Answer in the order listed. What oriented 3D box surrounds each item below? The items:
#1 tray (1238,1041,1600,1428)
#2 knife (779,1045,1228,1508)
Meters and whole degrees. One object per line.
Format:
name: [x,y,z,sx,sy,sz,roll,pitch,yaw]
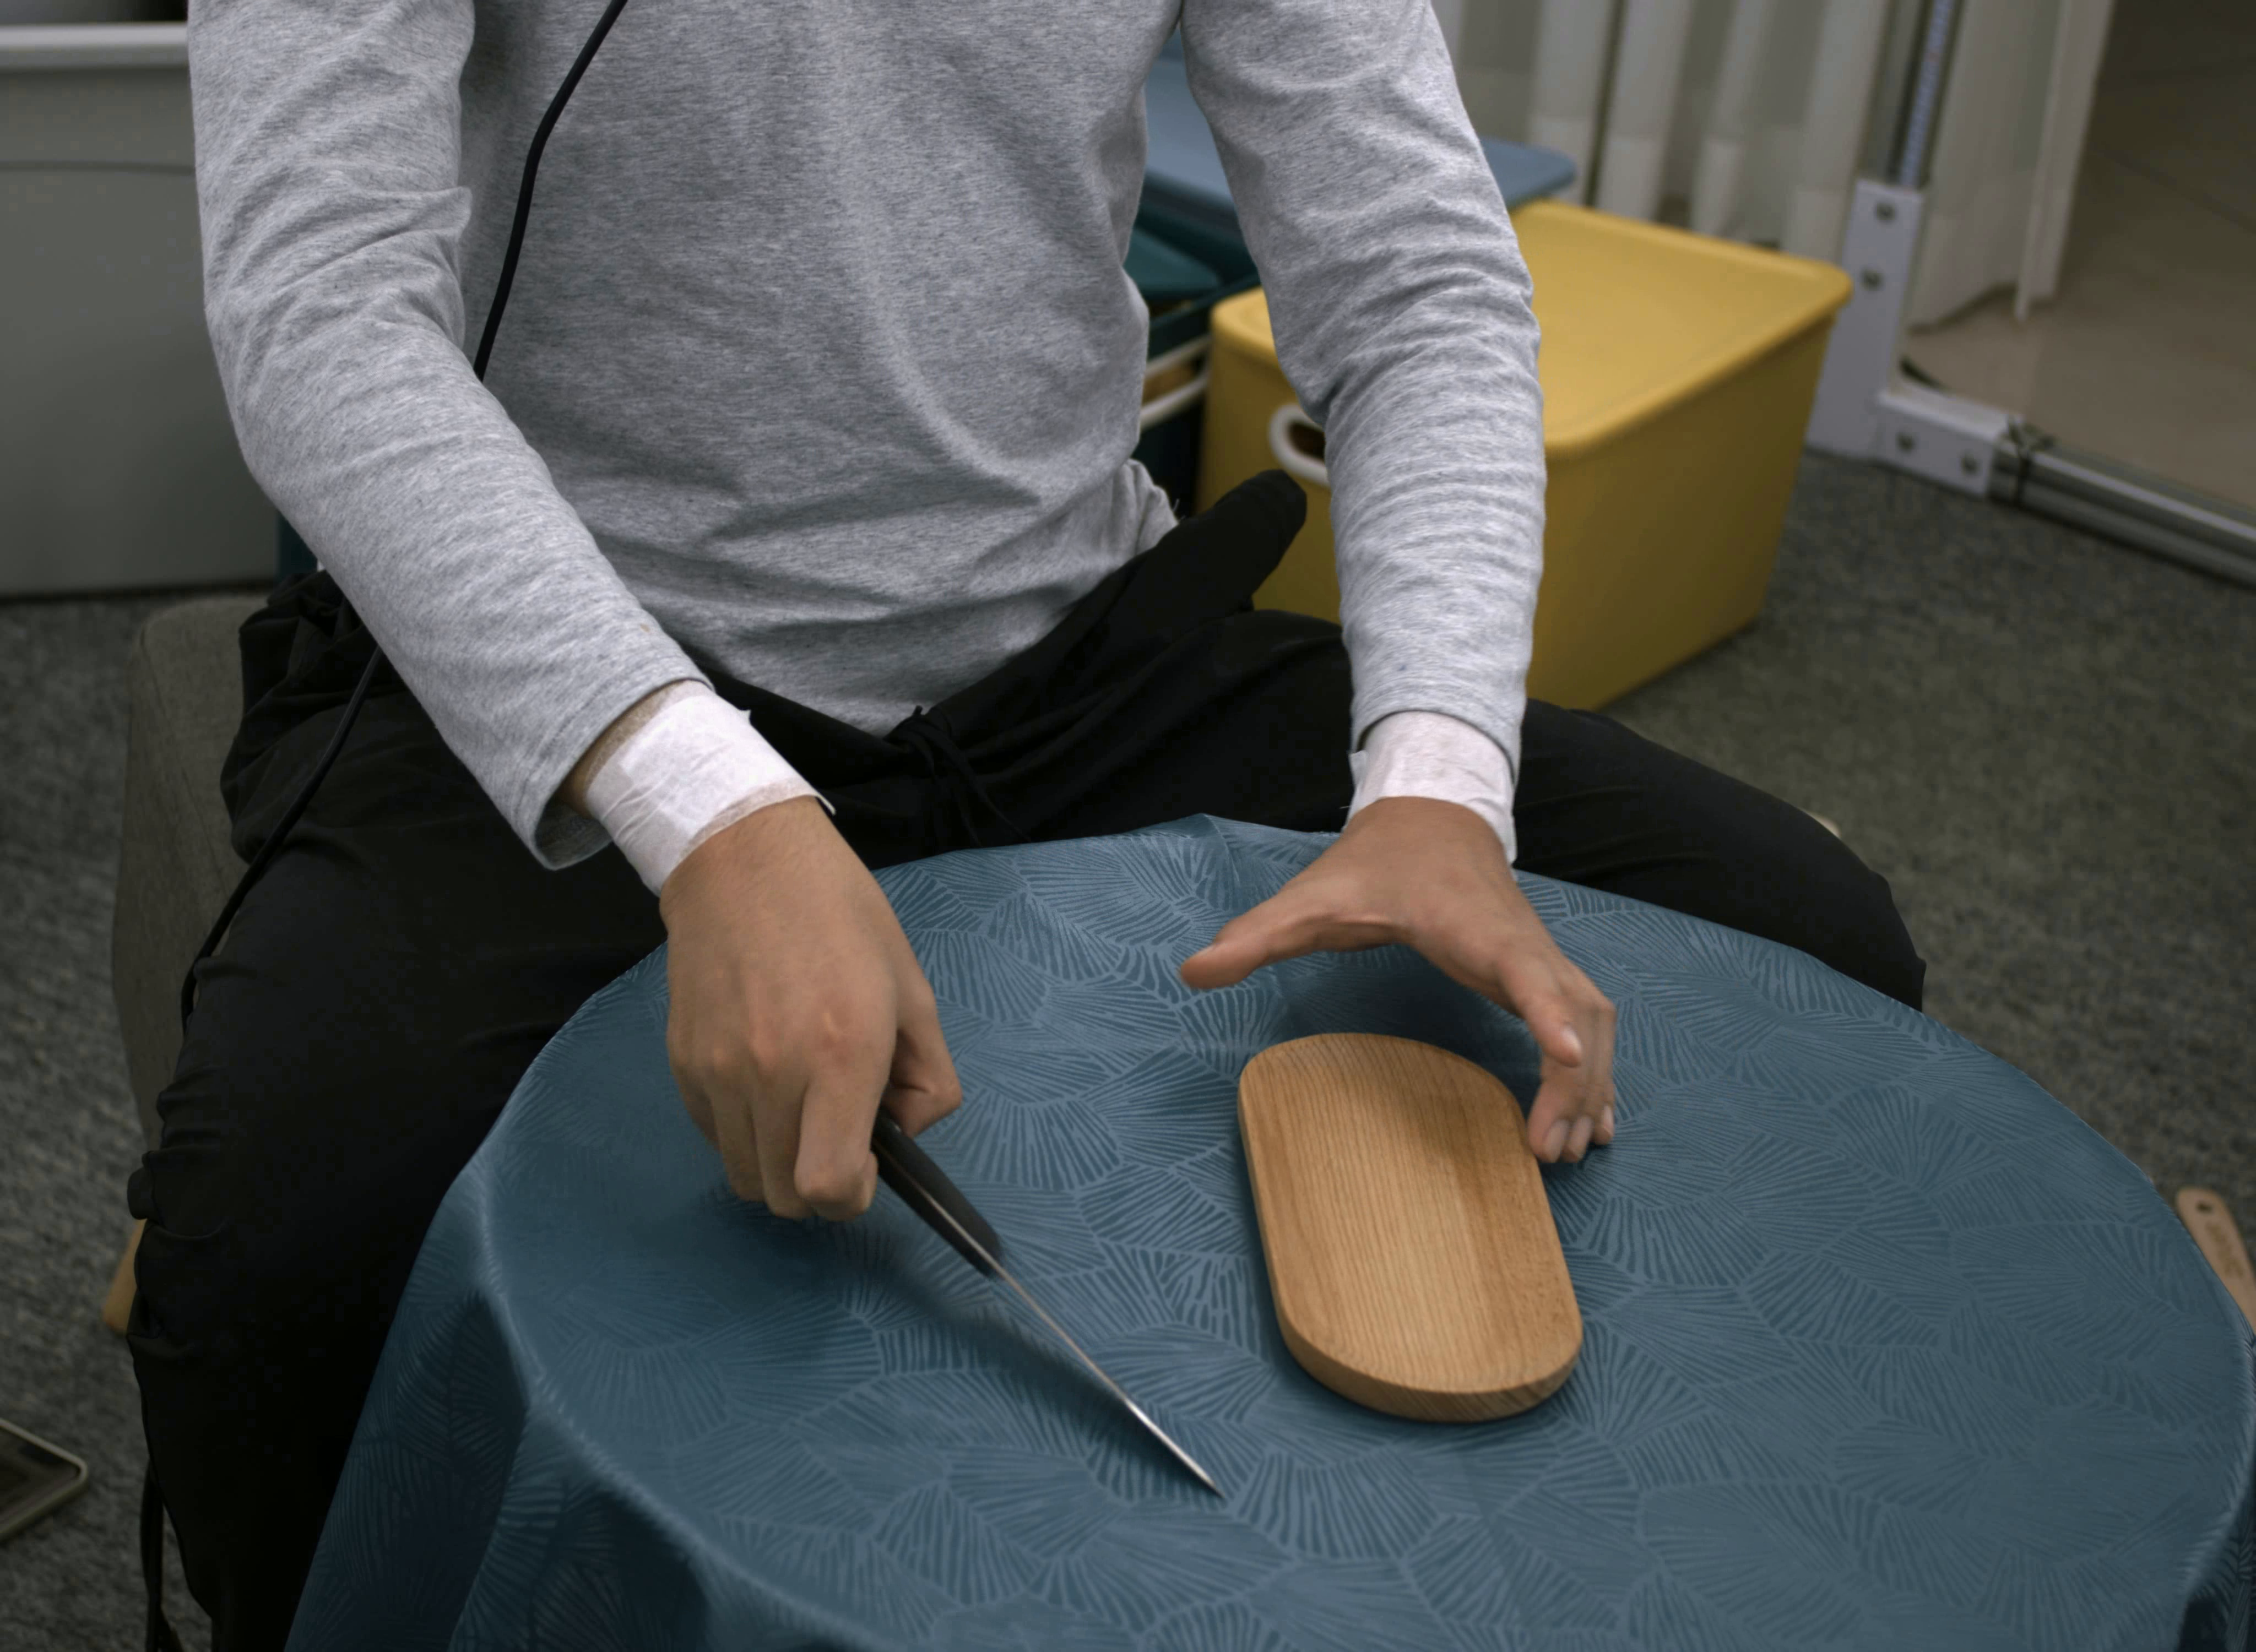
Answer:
tray: [0.095,0.135,1.789,0.101,0.020,0.233,2,28,-8]
knife: [-0.042,0.143,1.713,0.240,0.016,0.024,43,2,35]
